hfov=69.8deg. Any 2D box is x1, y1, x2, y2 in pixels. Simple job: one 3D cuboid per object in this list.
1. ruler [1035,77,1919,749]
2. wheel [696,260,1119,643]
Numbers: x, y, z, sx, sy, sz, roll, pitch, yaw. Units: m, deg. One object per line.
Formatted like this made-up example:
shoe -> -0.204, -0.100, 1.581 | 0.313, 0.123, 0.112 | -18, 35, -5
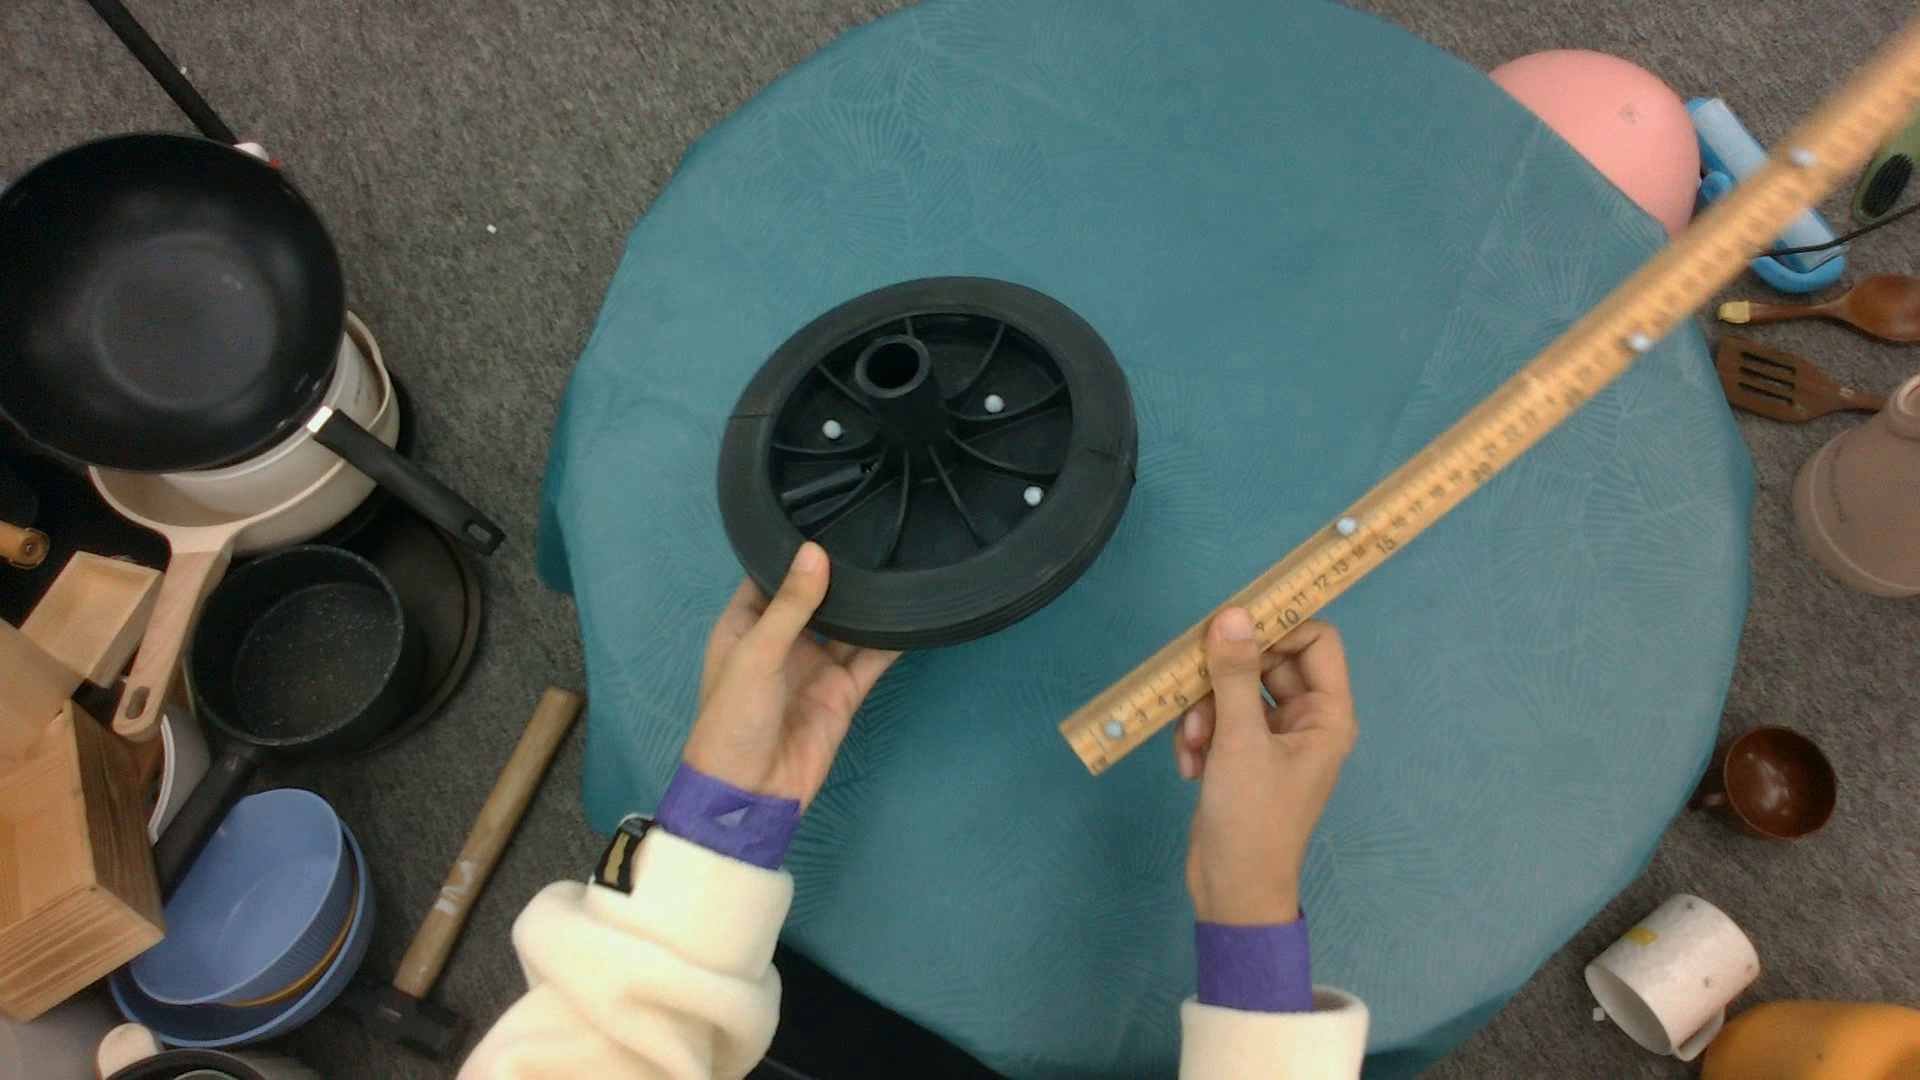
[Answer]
ruler -> 0.242, -0.067, 0.564 | 0.501, 0.006, 0.027 | -35, 92, -5
wheel -> -0.028, -0.054, 0.586 | 0.190, 0.079, 0.187 | -41, 62, -12
